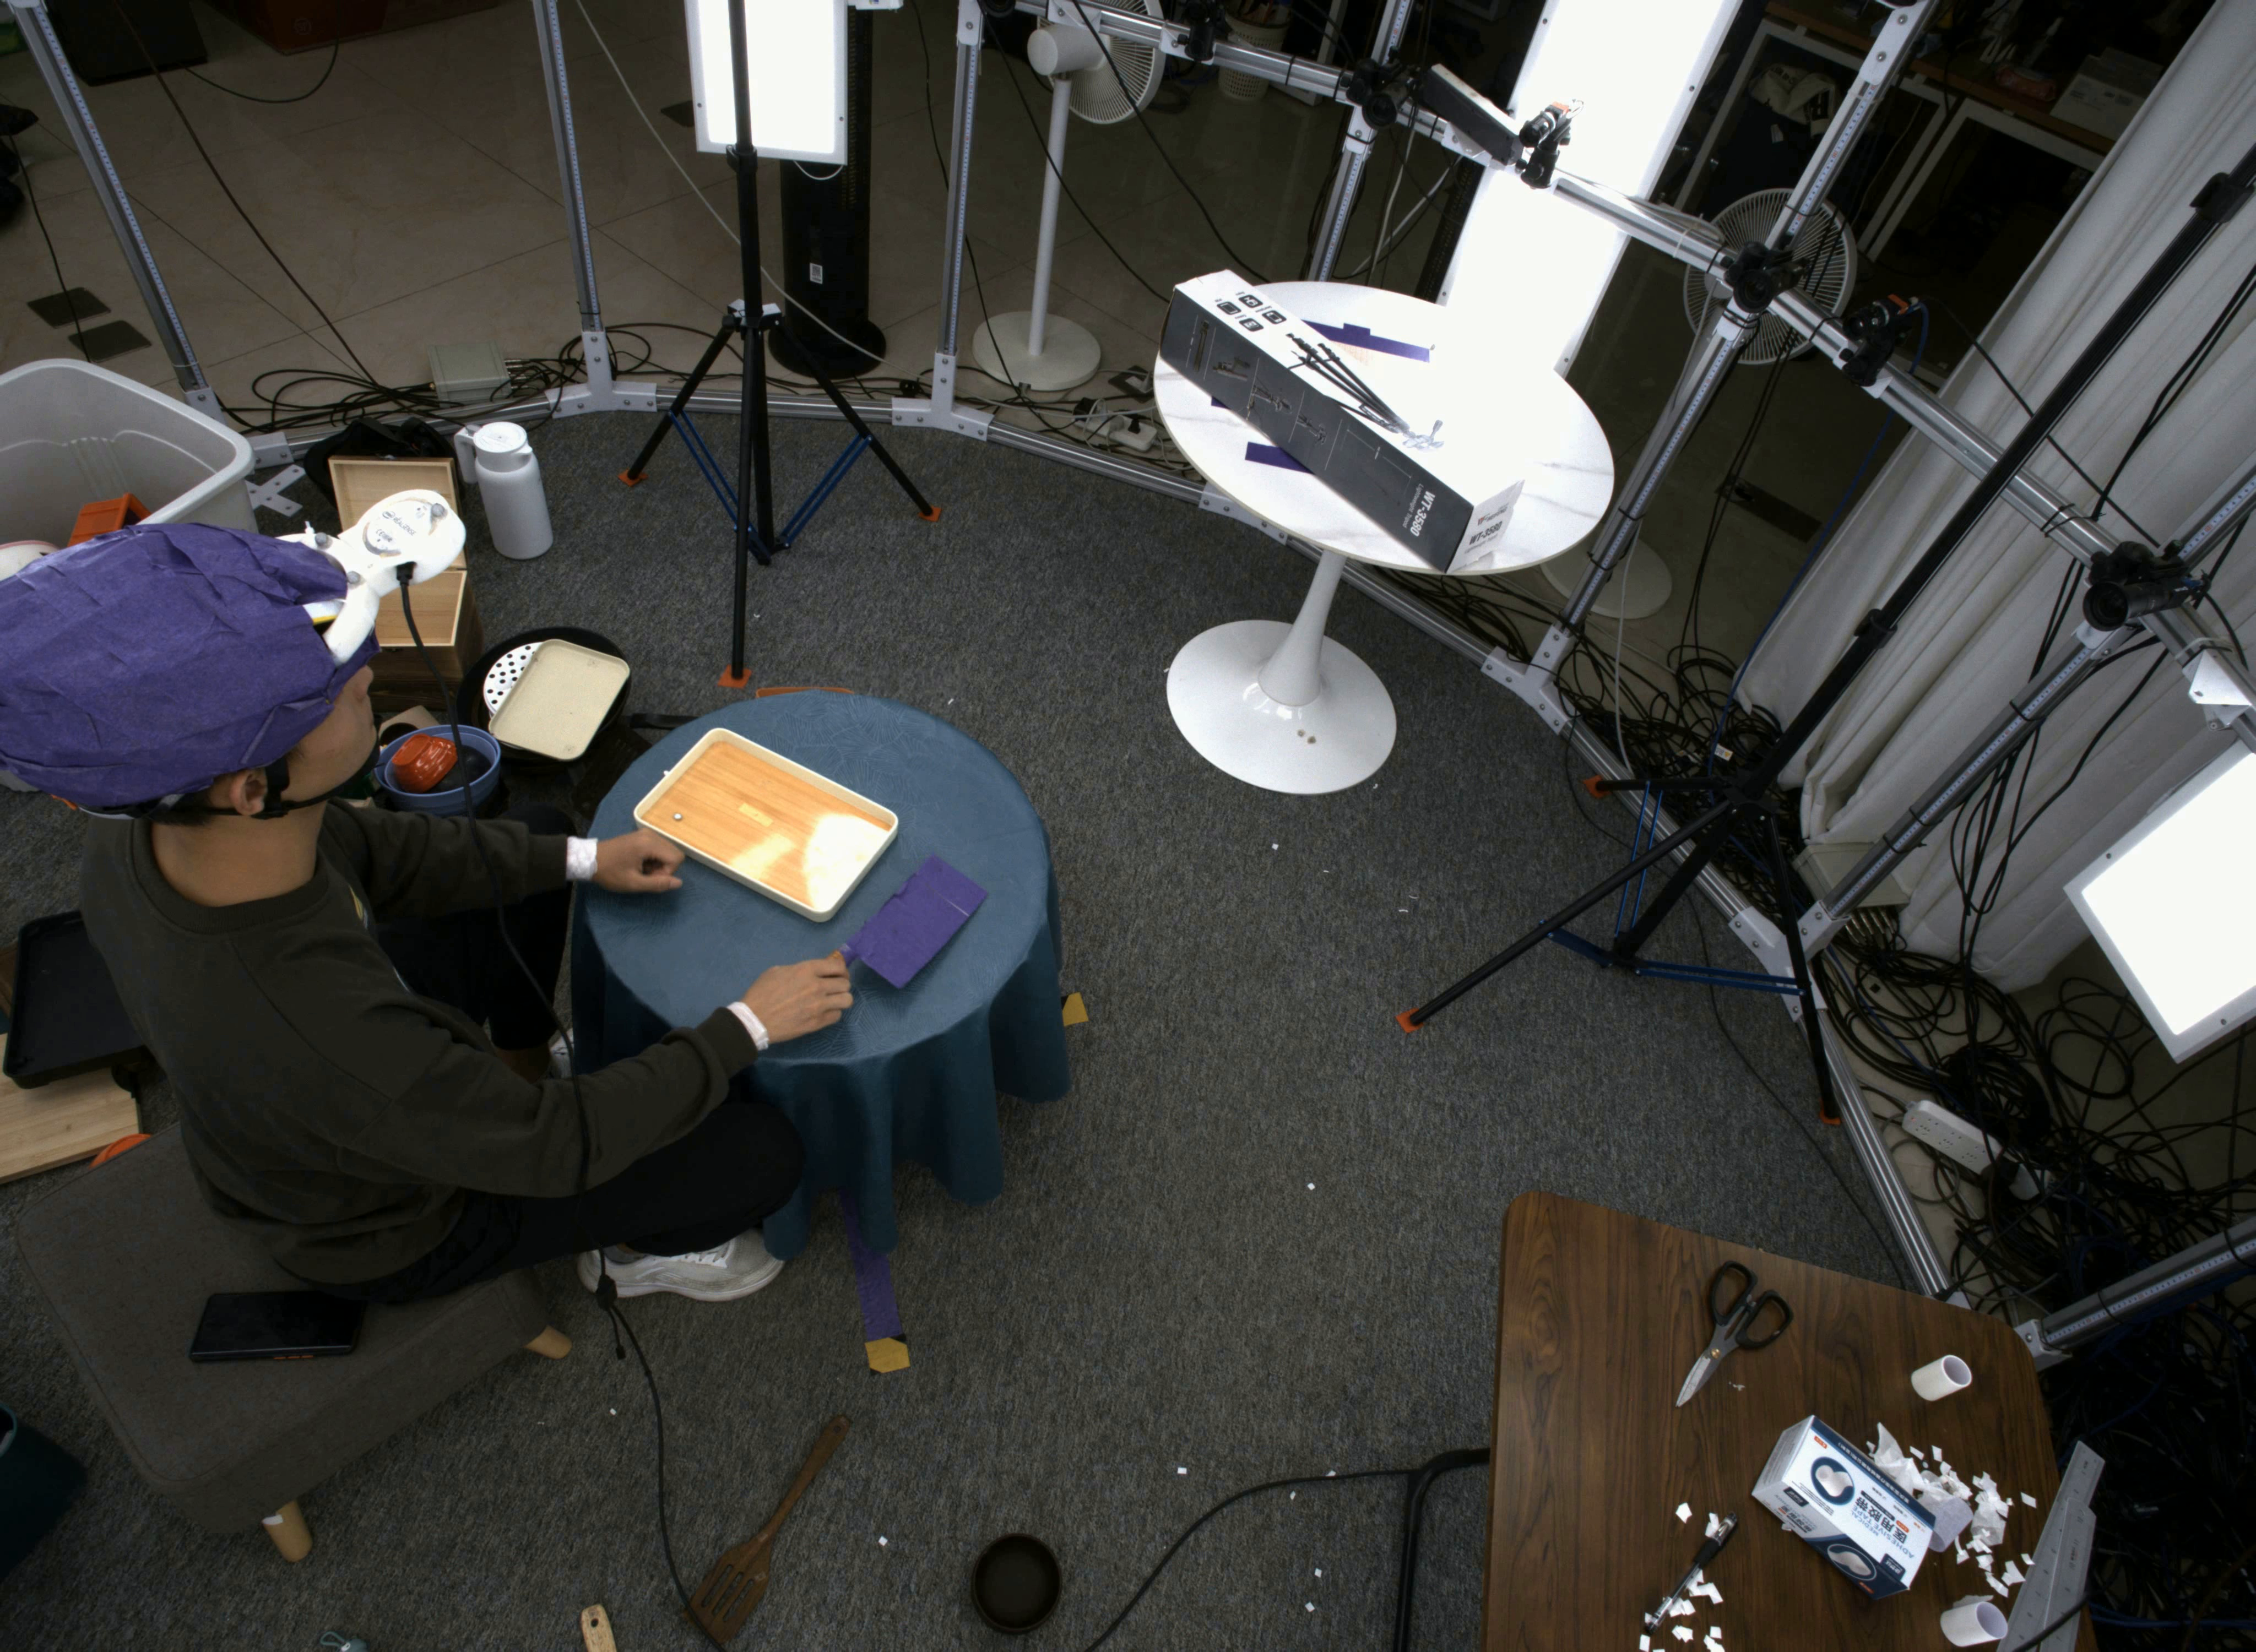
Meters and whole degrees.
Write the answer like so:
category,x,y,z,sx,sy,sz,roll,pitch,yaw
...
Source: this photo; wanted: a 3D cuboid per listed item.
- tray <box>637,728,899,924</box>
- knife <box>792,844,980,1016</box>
category,x,y,z,sx,sy,sz,roll,pitch,yaw
tray,-0.474,-0.006,1.709,0.296,0.028,0.190,26,52,6
knife,-0.288,0.137,1.614,0.103,0.032,0.314,37,46,0
